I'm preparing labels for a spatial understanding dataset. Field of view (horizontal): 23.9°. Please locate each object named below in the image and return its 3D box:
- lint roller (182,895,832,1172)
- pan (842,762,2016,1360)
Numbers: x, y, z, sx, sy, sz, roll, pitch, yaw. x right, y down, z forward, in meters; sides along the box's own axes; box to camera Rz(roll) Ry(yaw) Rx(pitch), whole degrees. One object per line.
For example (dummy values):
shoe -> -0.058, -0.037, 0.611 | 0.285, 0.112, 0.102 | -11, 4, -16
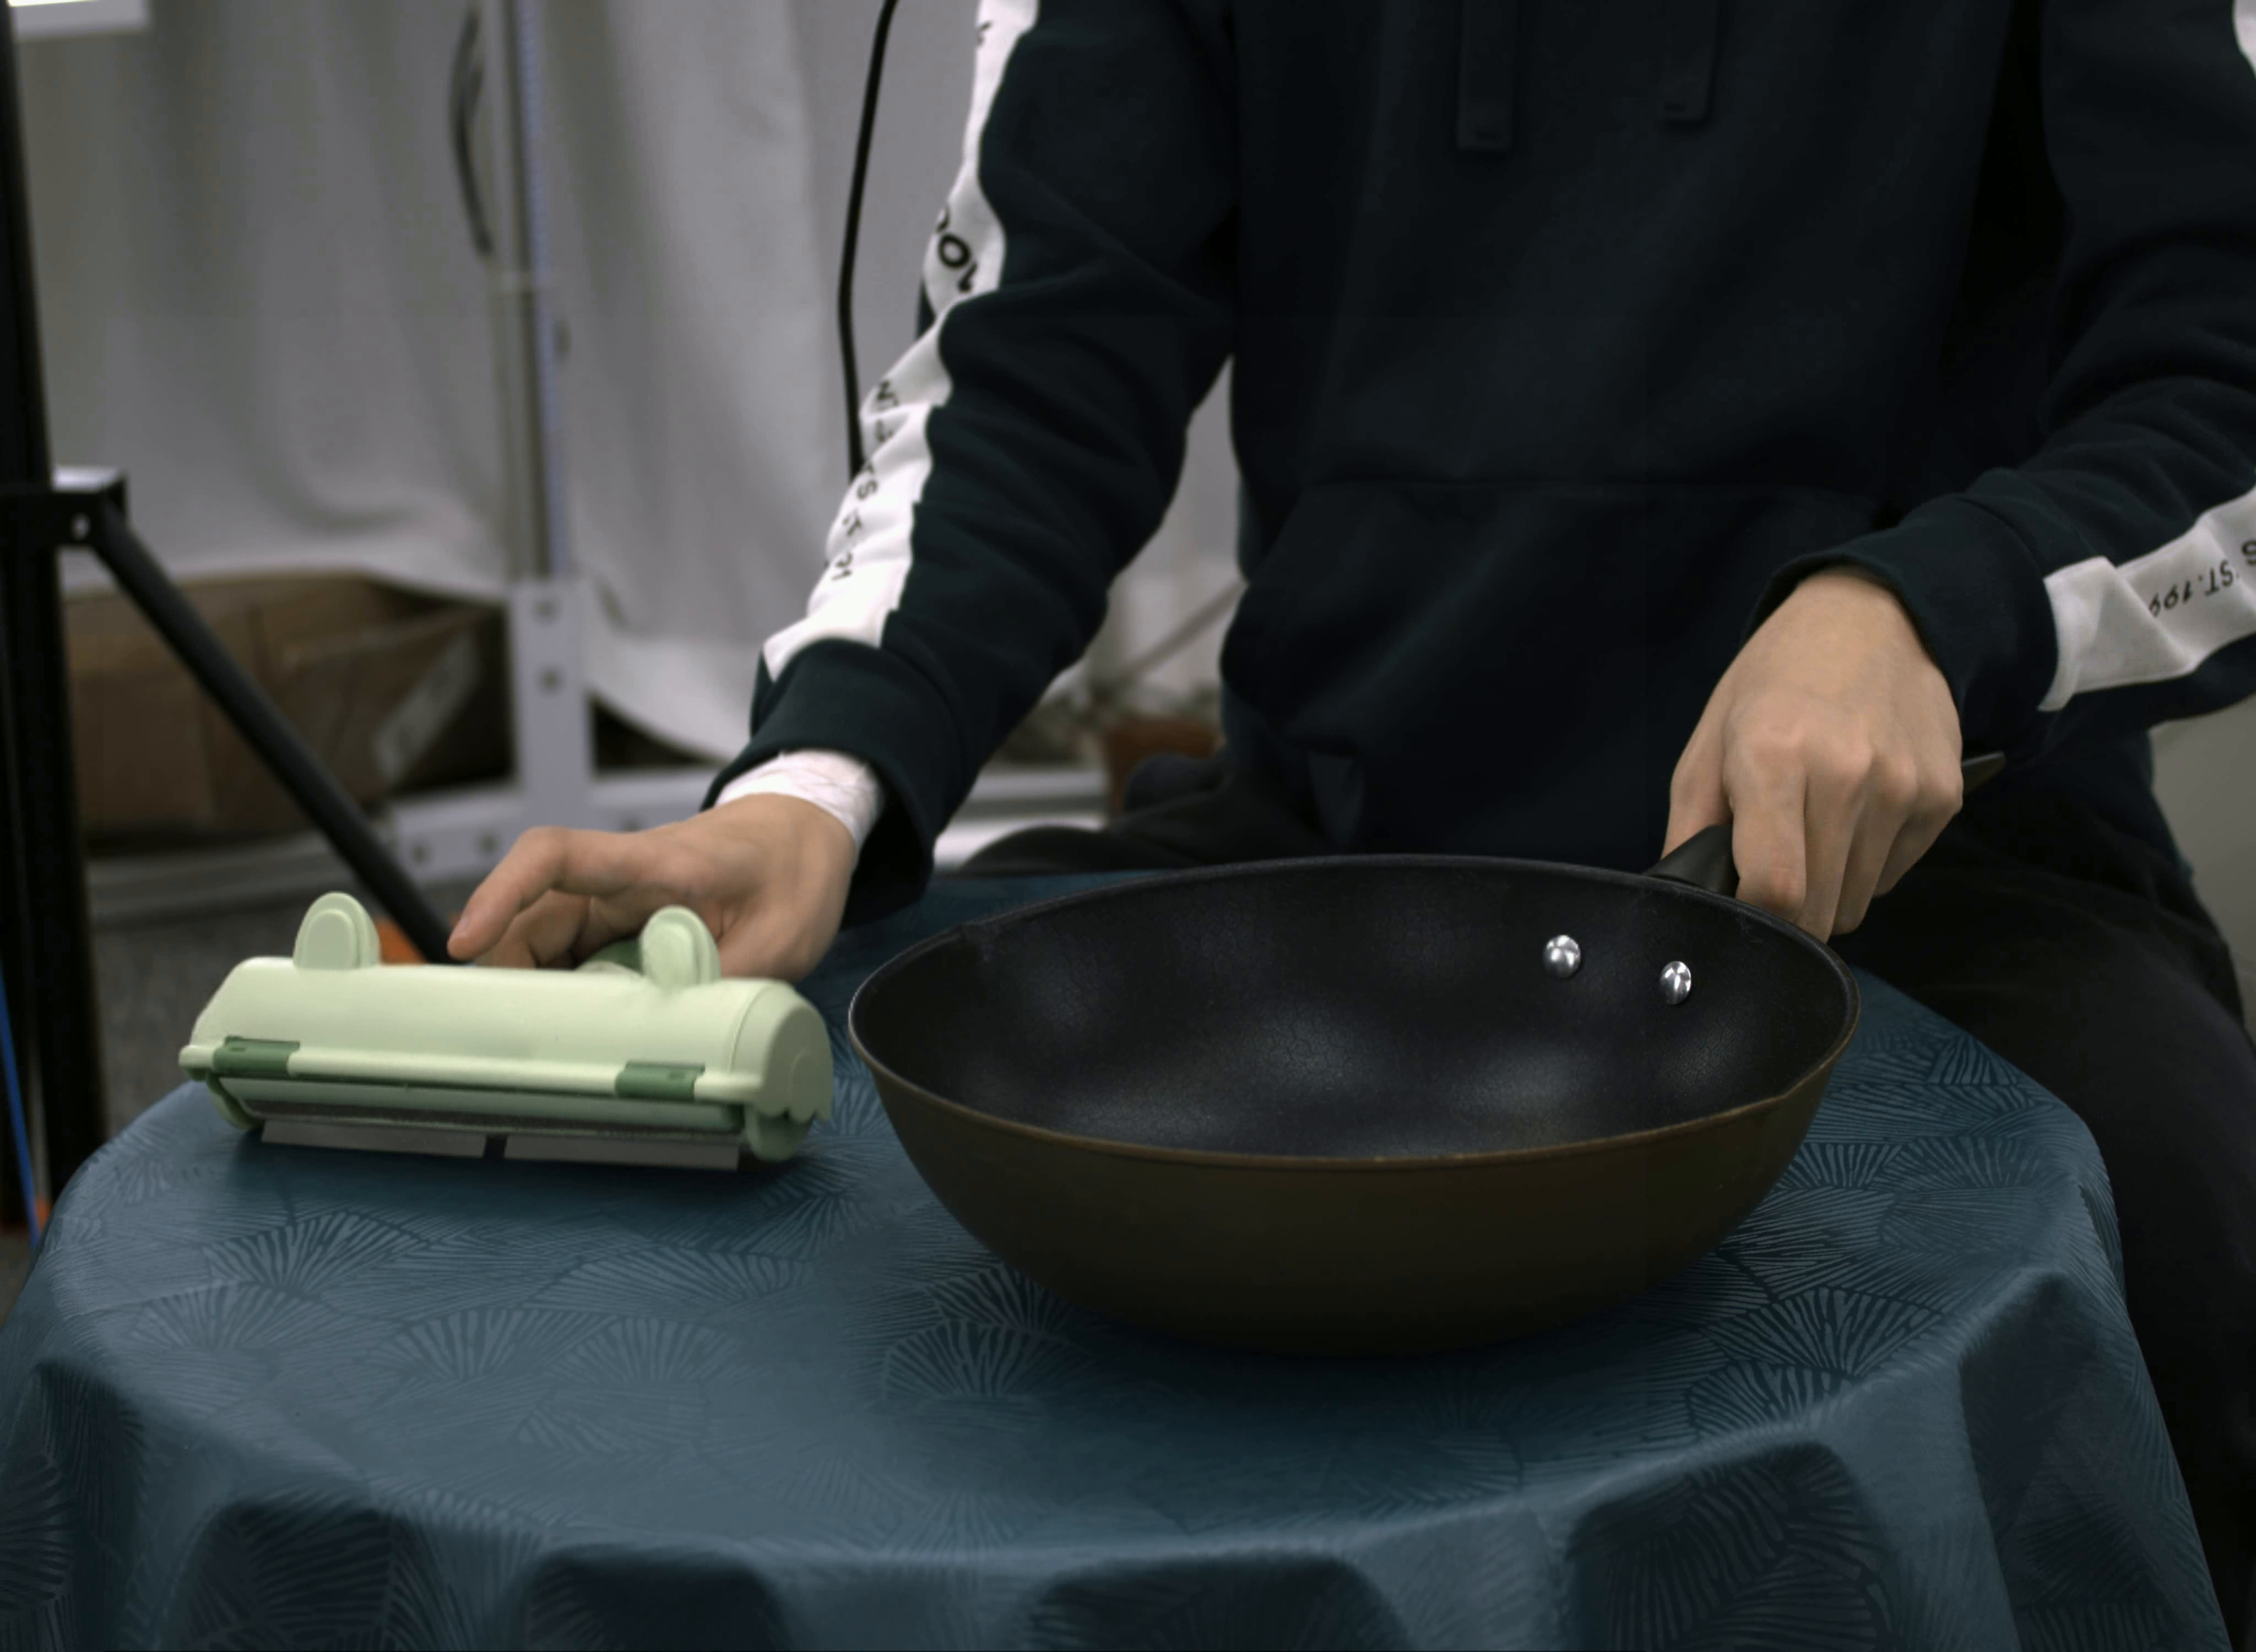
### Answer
lint roller -> -0.168, 0.044, 1.659 | 0.201, 0.082, 0.181 | 2, 24, 24
pan -> 0.120, 0.064, 1.541 | 0.294, 0.087, 0.453 | 11, 20, 40
